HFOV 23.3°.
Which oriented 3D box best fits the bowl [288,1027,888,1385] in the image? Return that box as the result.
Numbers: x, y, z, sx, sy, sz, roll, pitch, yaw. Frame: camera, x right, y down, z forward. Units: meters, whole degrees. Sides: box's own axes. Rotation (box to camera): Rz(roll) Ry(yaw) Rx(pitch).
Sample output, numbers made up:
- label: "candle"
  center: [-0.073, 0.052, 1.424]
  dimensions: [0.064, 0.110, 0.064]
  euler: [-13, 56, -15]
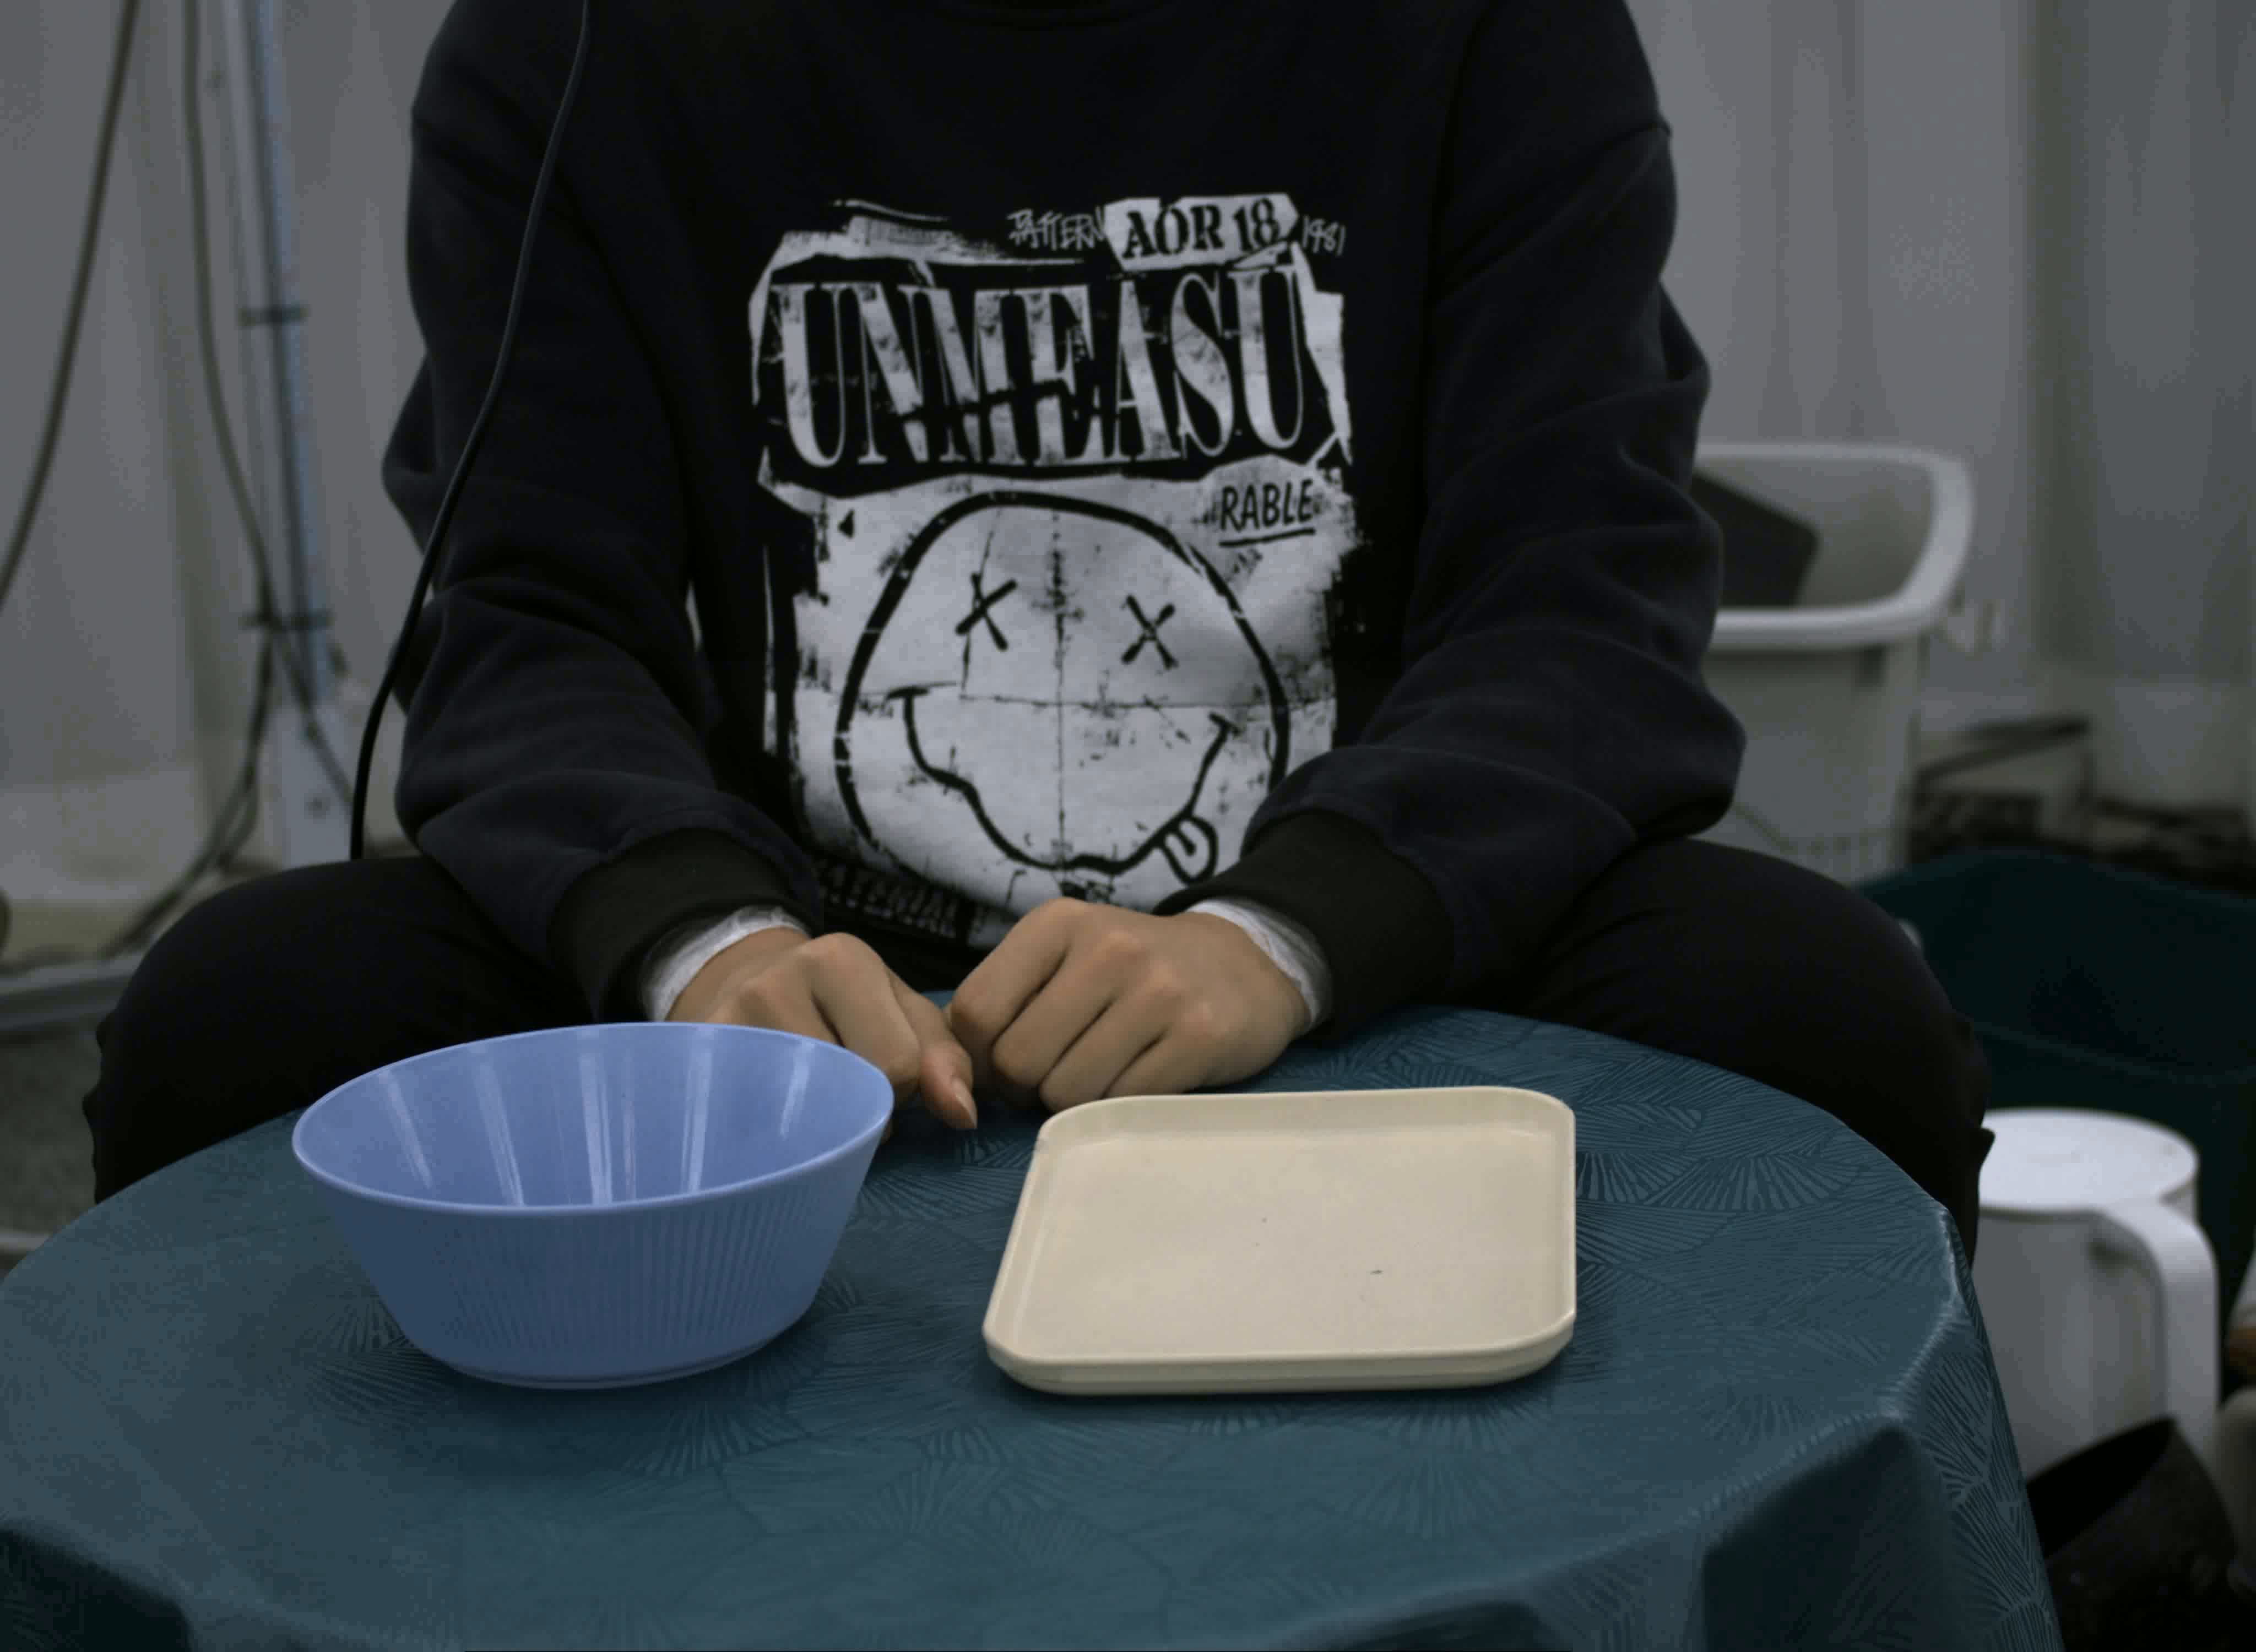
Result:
- label: "bowl"
  center: [-0.157, 0.114, 1.610]
  dimensions: [0.175, 0.070, 0.177]
  euler: [-2, 15, 0]

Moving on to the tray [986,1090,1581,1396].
- label: "tray"
  center: [0.050, 0.124, 1.637]
  dimensions: [0.171, 0.017, 0.241]
  euler: [-1, 15, 5]
